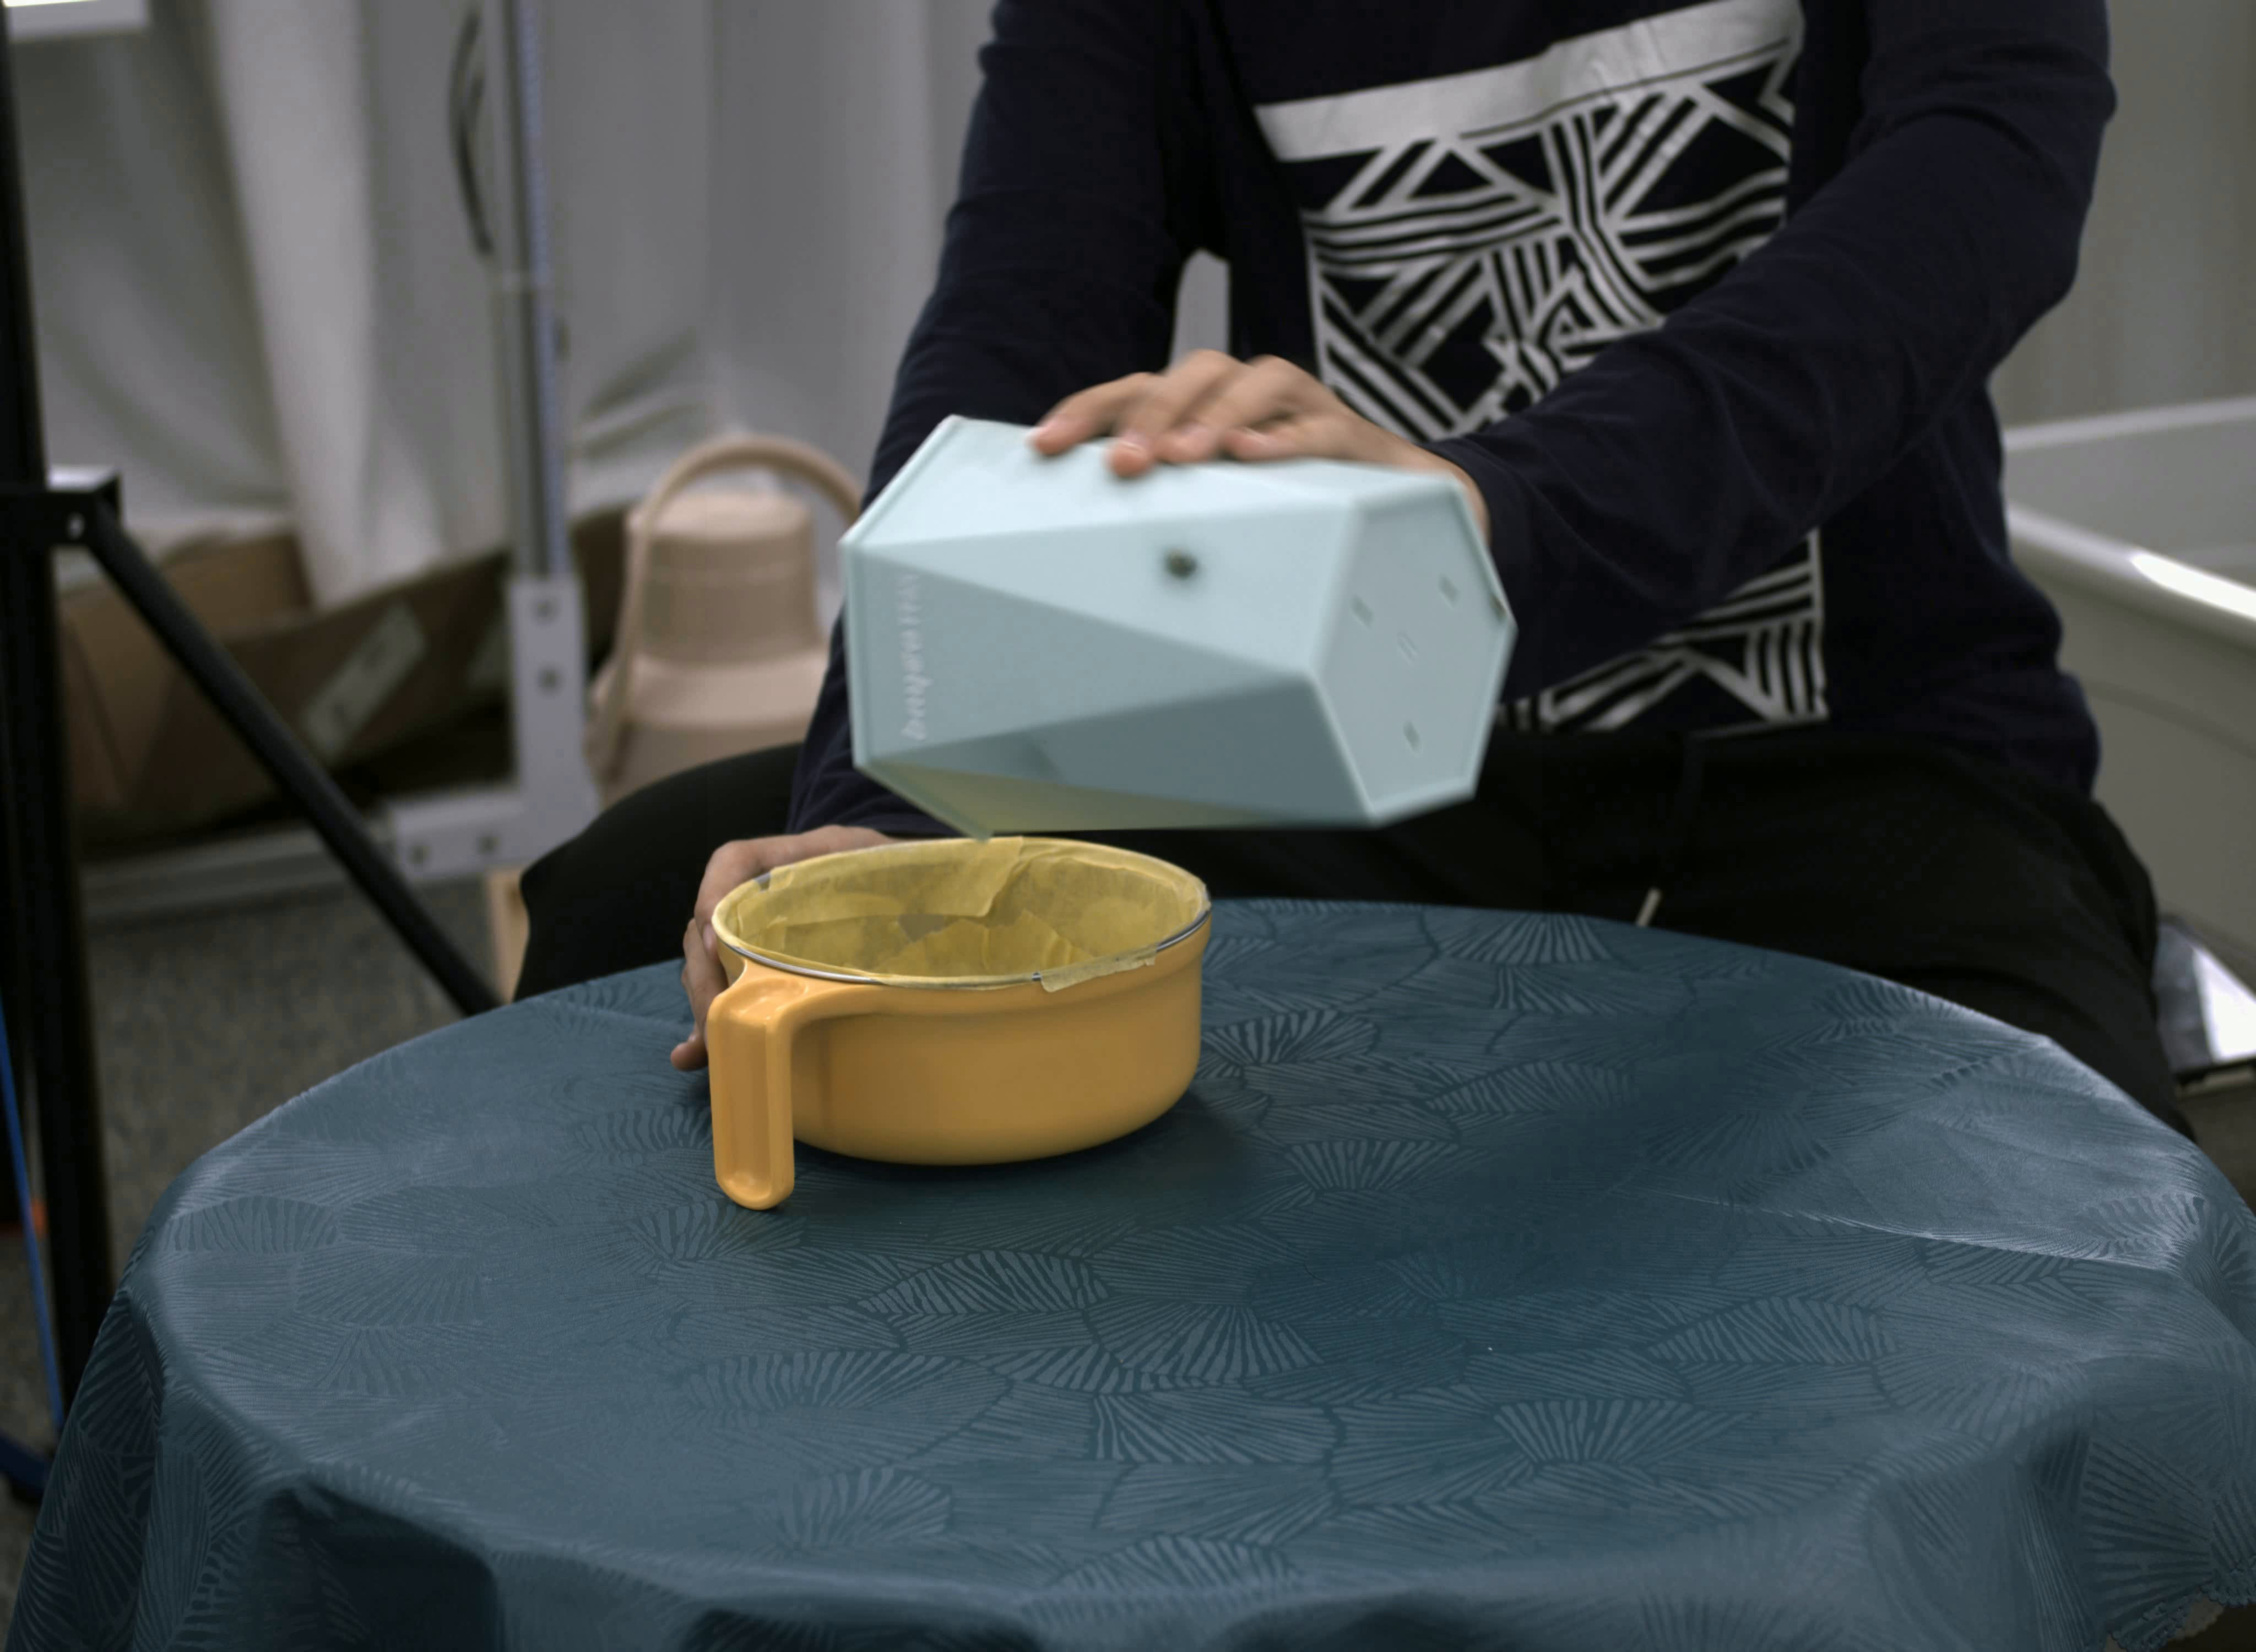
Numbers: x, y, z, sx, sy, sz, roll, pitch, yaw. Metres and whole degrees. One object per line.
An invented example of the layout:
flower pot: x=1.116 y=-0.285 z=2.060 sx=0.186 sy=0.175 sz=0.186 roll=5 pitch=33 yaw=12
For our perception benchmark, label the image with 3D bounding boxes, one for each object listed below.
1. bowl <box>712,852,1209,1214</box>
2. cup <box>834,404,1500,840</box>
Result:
bowl: x=-0.058 y=0.060 z=1.619 sx=0.156 sy=0.074 sz=0.175 roll=8 pitch=16 yaw=34
cup: x=0.013 y=-0.058 z=1.540 sx=0.166 sy=0.131 sz=0.112 roll=2 pitch=7 yaw=40
